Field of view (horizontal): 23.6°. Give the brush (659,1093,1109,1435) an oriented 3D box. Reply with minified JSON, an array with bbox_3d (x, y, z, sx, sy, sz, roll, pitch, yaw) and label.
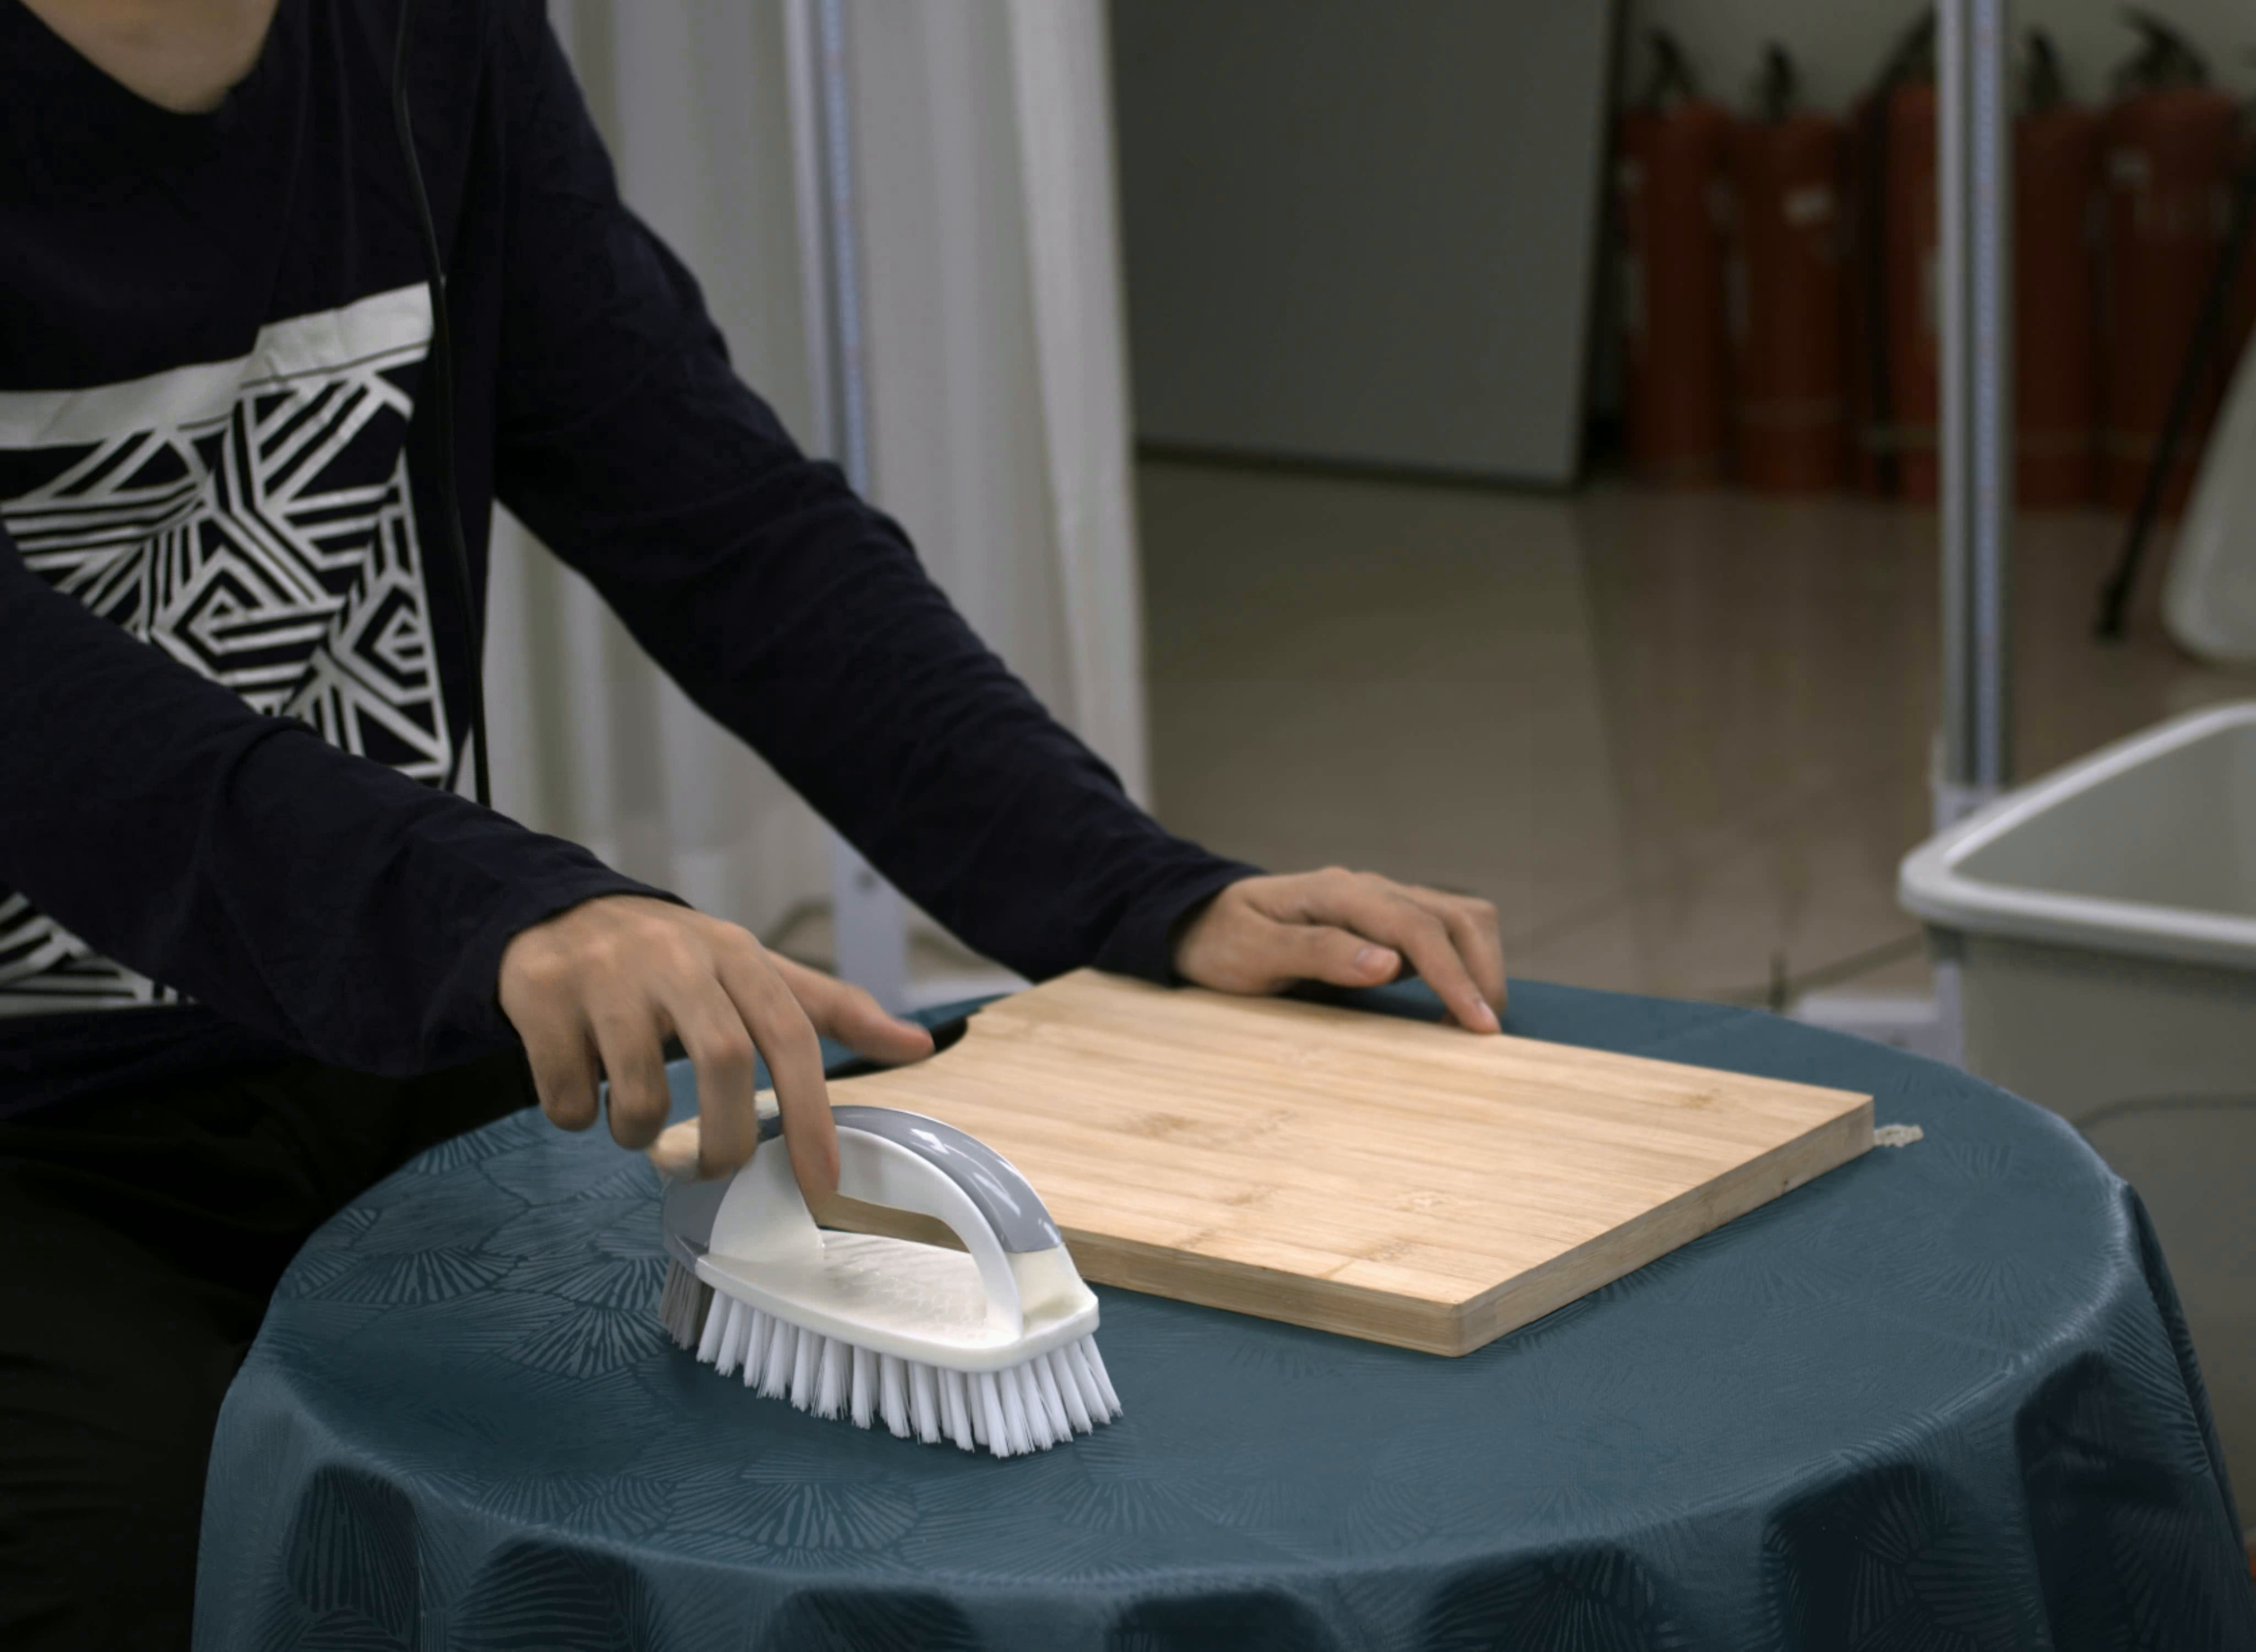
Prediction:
[{"bbox_3d":[-0.083,0.124,1.594,0.060,0.095,0.177,-14,14,-43],"label":"brush"}]

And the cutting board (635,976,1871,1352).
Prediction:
[{"bbox_3d":[0.039,0.107,1.791,0.351,0.024,0.246,7,17,39],"label":"cutting board"}]
